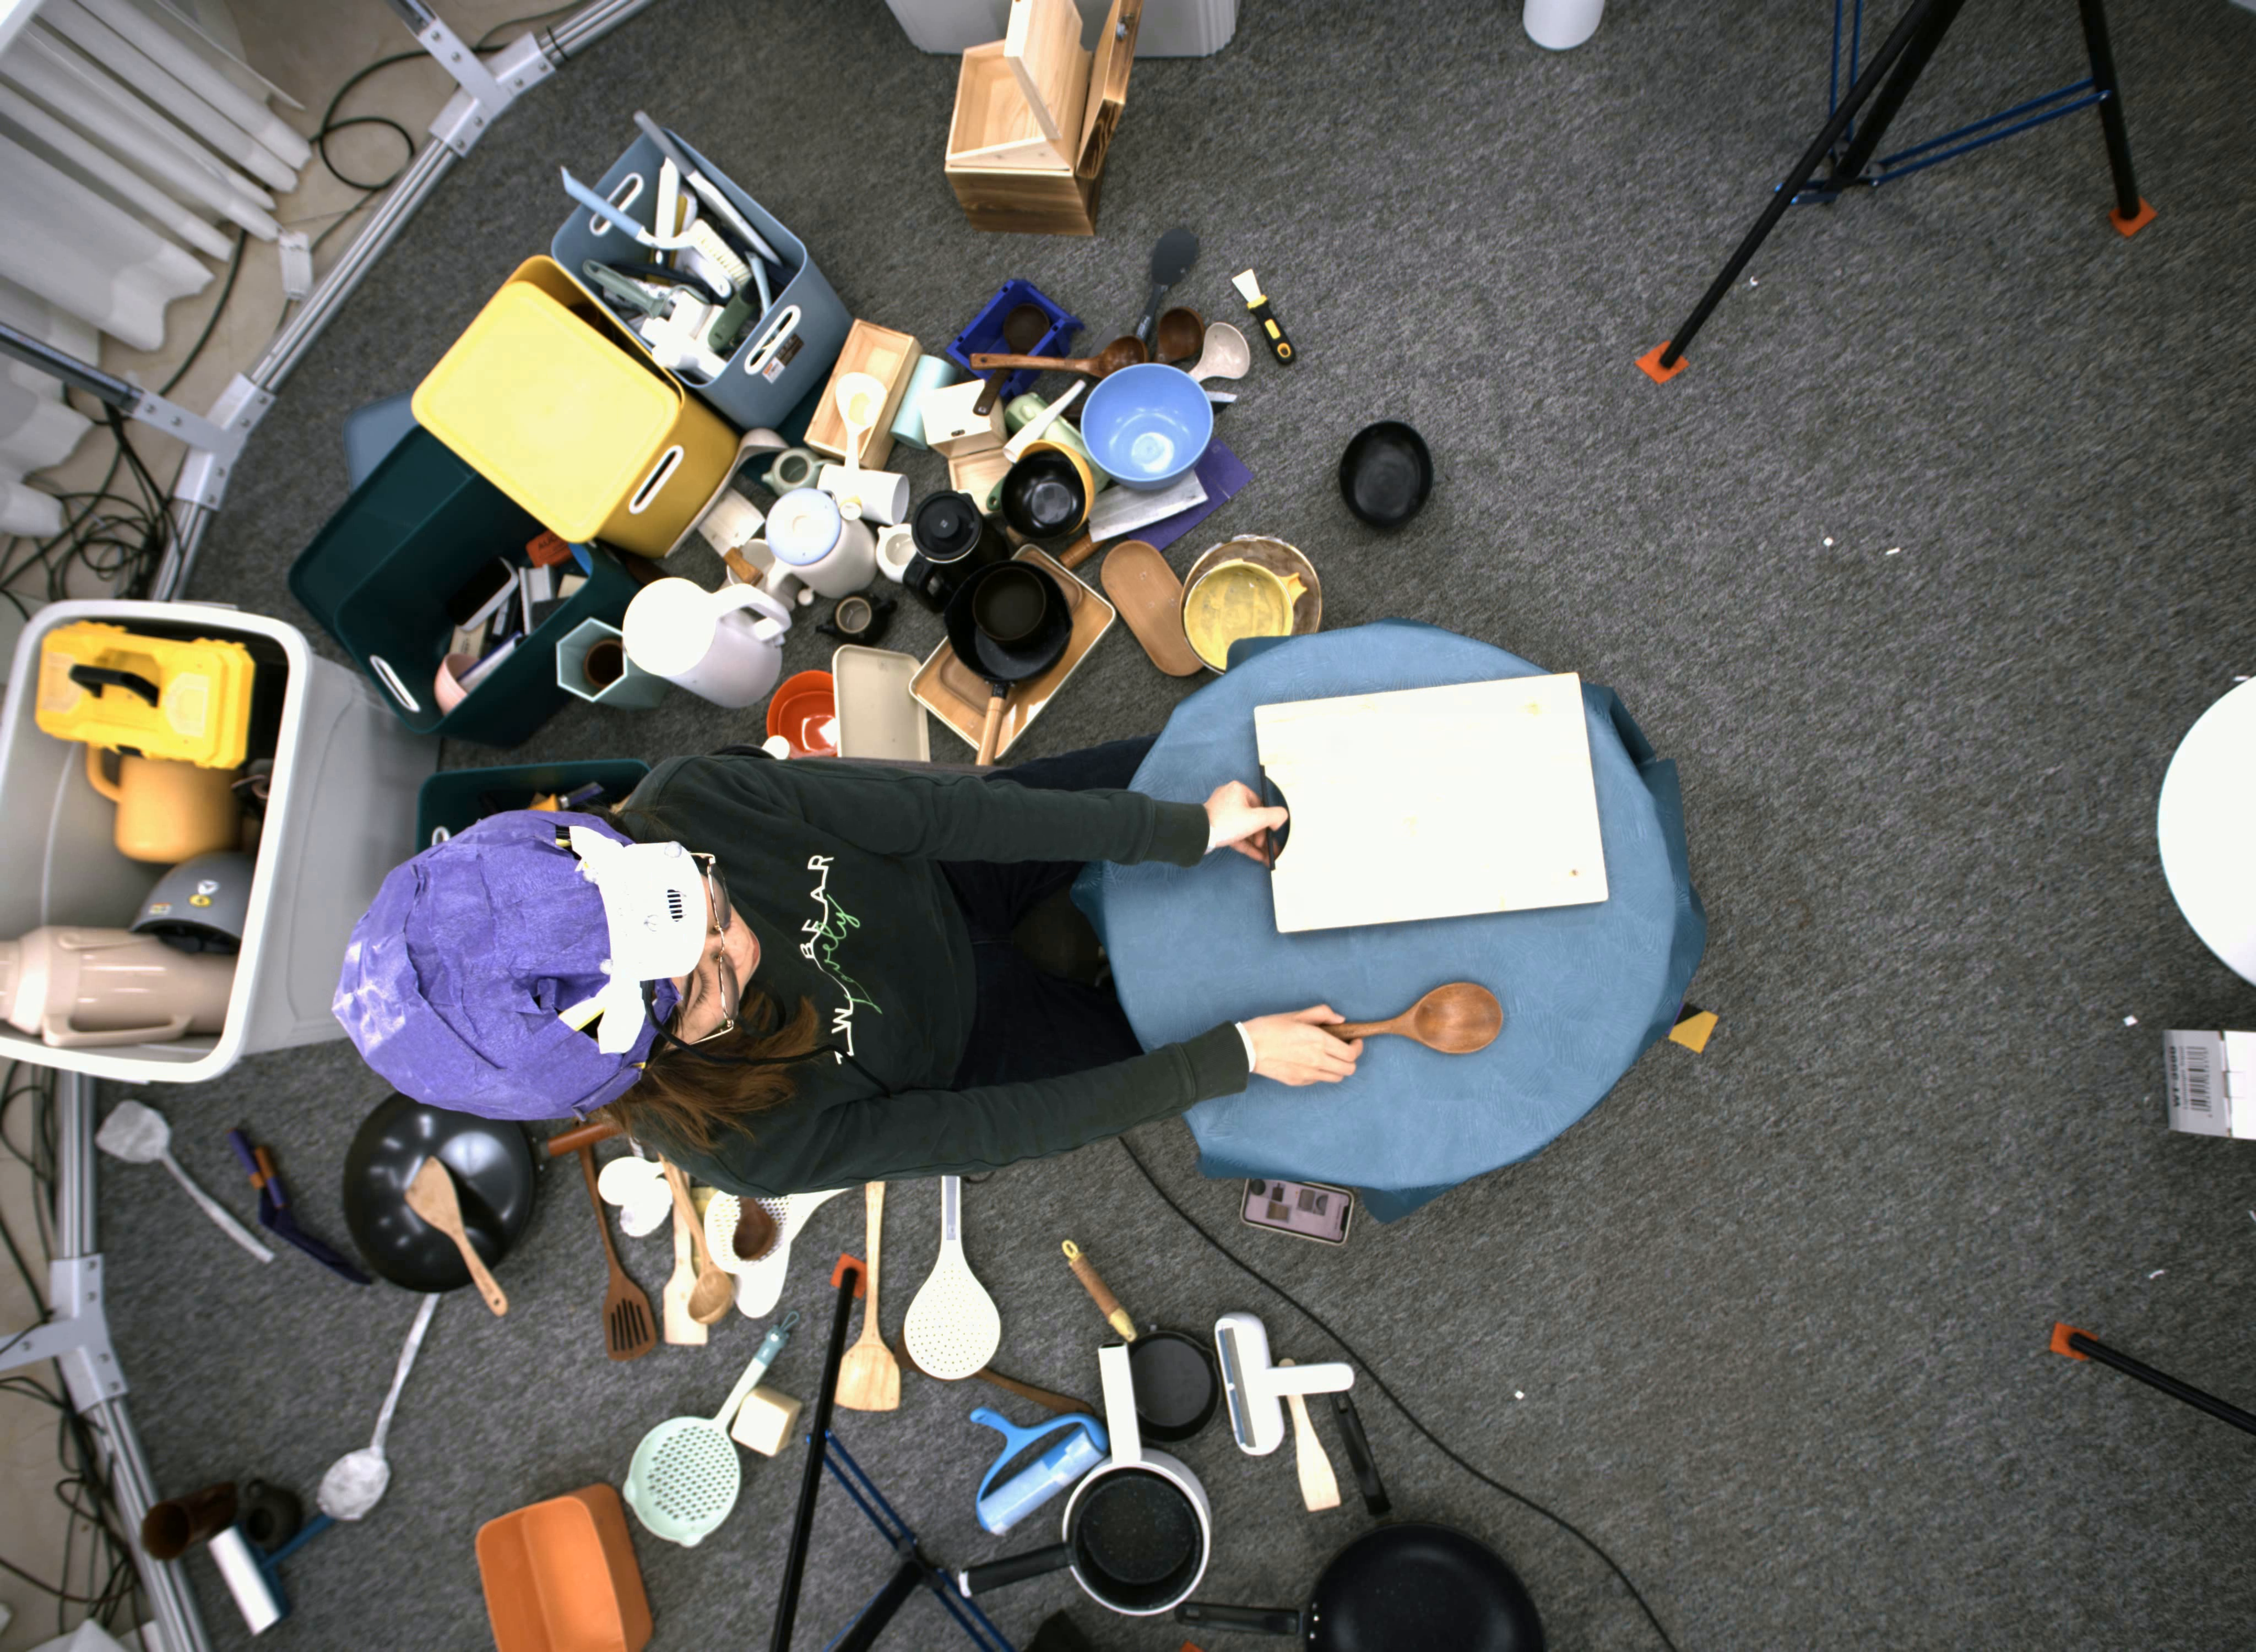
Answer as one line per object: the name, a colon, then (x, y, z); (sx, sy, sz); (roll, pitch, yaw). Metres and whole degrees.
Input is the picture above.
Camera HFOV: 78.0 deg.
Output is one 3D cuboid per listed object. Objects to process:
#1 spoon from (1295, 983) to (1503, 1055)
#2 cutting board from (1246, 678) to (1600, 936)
spoon: (0.282, 0.208, 1.442); (0.217, 0.017, 0.075); (-9, 92, 8)
cutting board: (0.309, -0.022, 1.444); (0.350, 0.023, 0.249); (-7, 84, 6)
